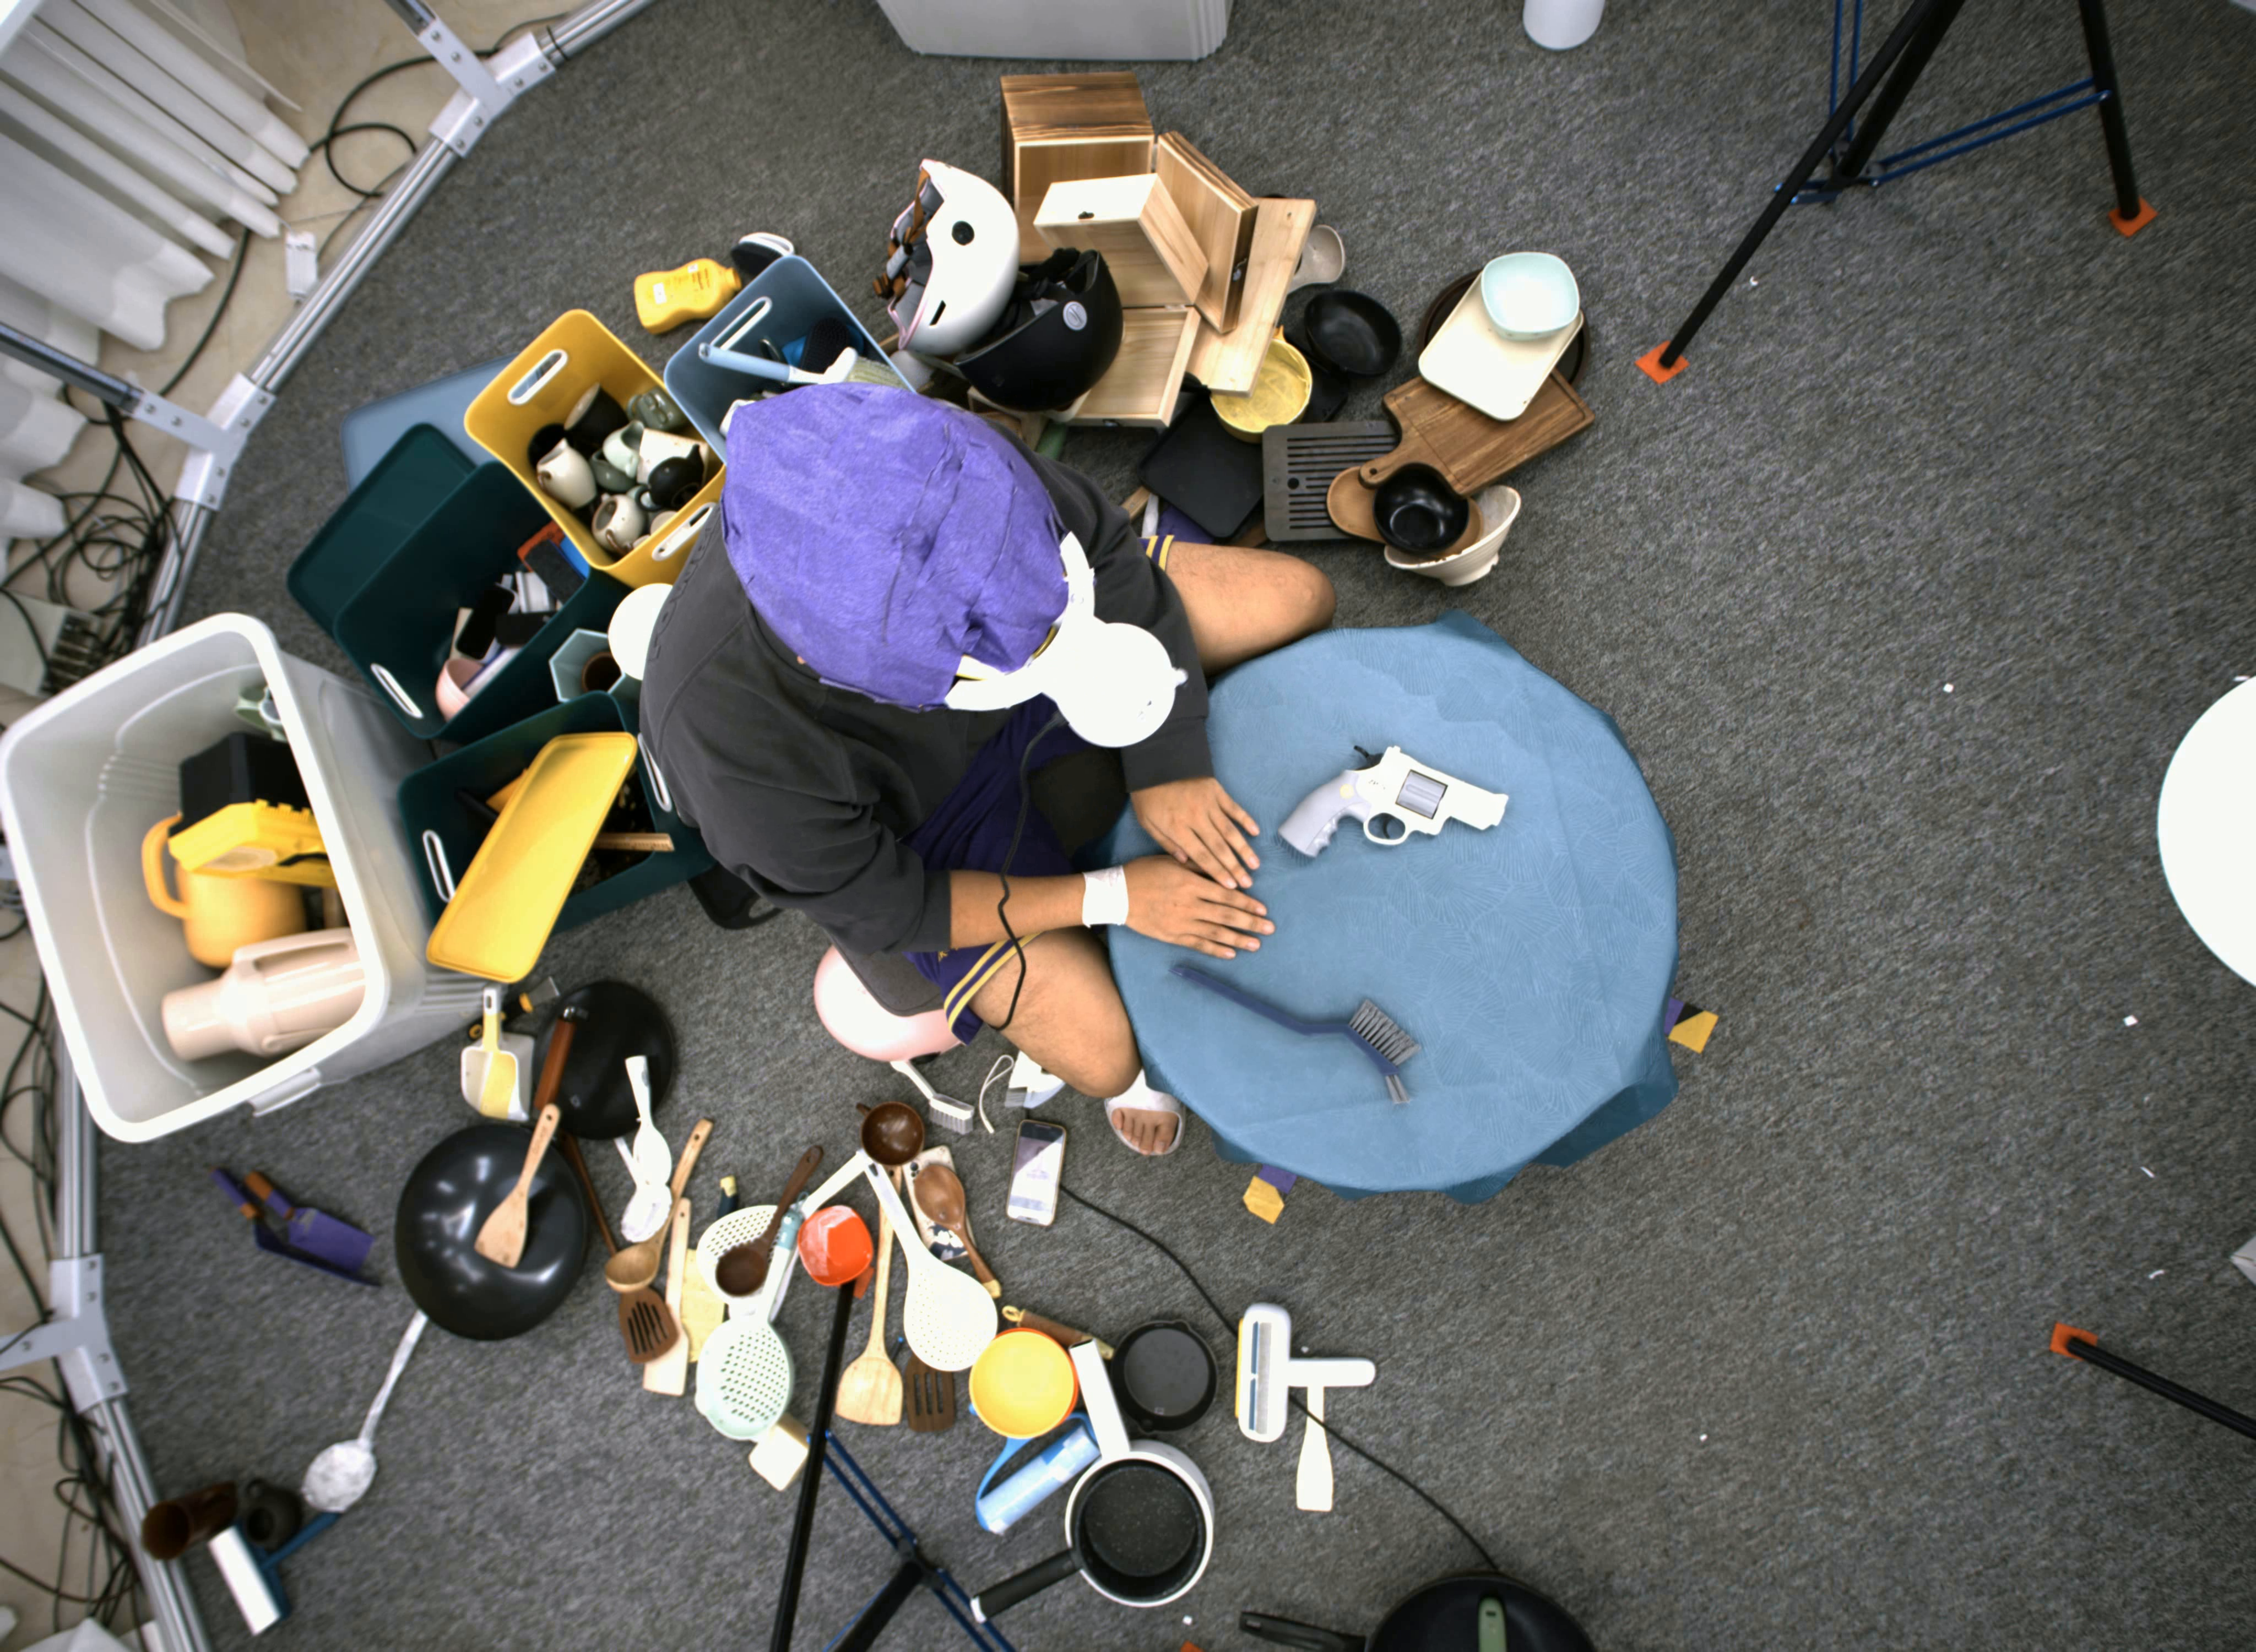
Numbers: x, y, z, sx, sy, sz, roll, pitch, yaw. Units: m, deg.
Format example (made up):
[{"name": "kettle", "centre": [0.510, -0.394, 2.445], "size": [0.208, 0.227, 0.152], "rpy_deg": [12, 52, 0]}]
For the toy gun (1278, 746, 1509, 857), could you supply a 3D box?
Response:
[{"name": "toy gun", "centre": [0.277, -0.010, 1.443], "size": [0.209, 0.039, 0.142], "rpy_deg": [23, 92, 12]}]

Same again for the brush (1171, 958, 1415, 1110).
[{"name": "brush", "centre": [0.166, 0.210, 1.455], "size": [0.273, 0.033, 0.095], "rpy_deg": [17, 89, 10]}]
